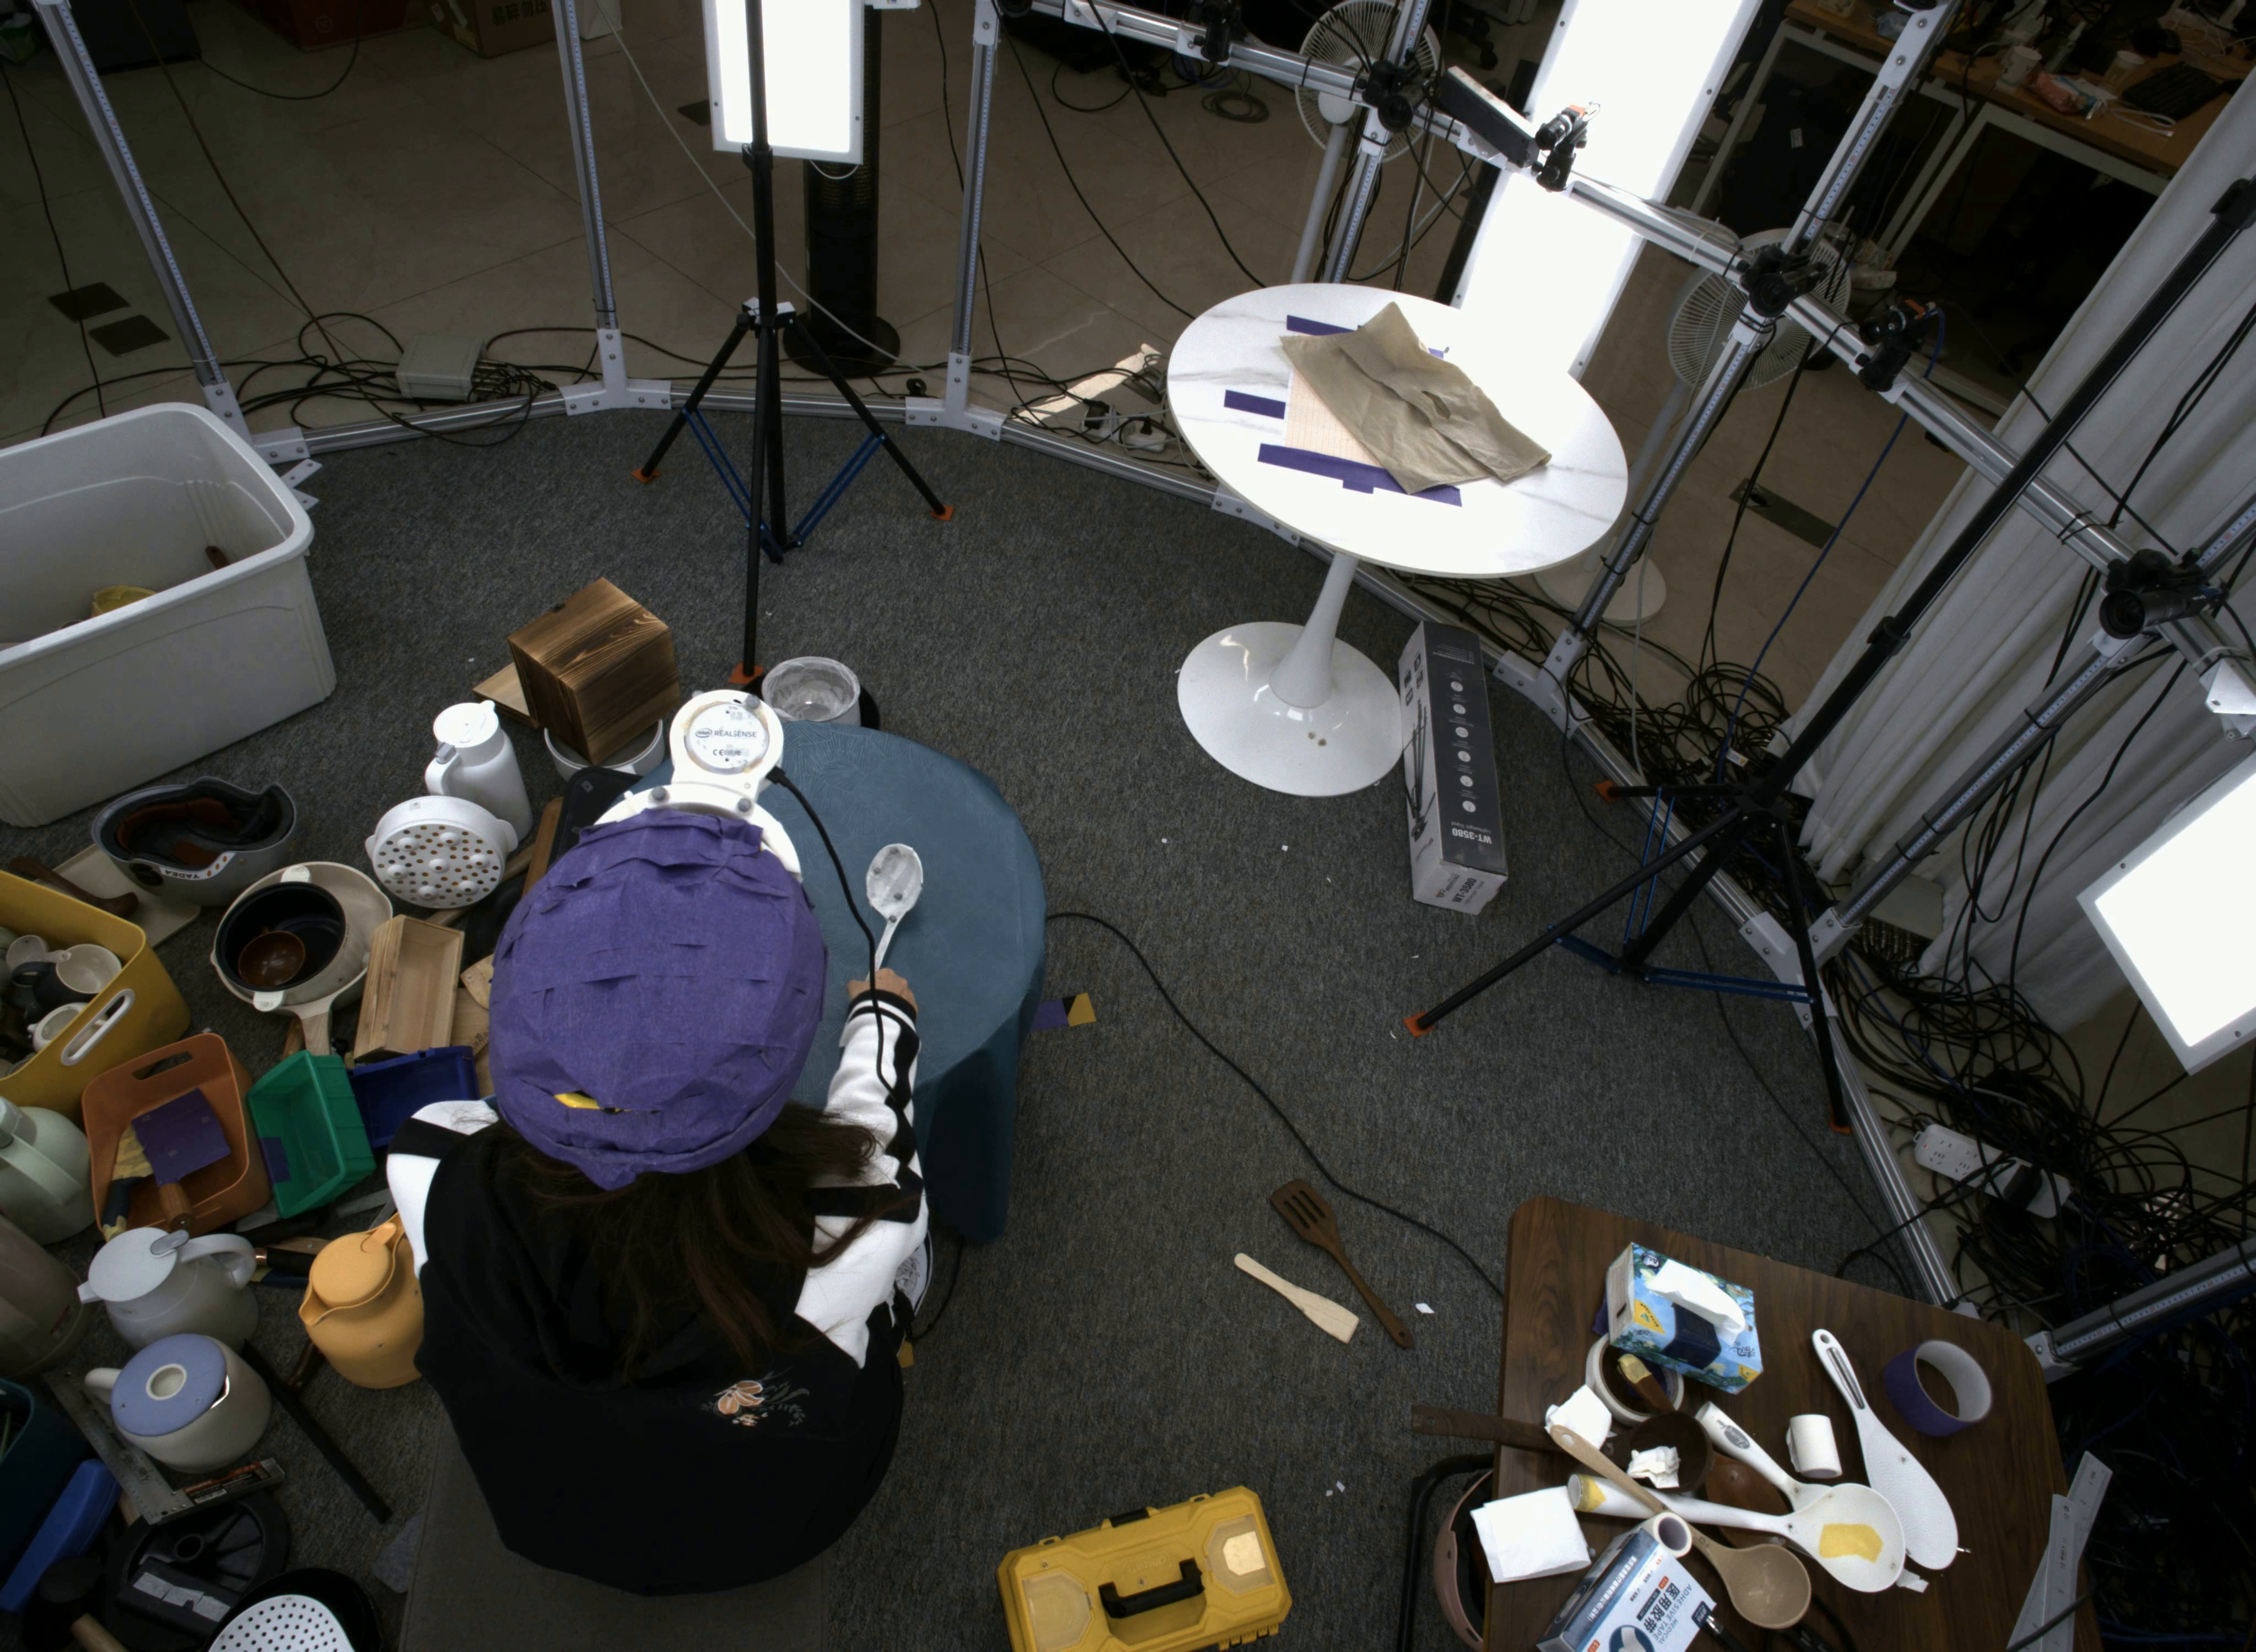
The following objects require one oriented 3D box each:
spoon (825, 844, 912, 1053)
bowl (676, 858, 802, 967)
[{"bbox_3d":[-0.335,0.144,1.595,0.098,0.061,0.274,-12,44,33],"label":"spoon"},{"bbox_3d":[-0.475,0.114,1.586,0.151,0.060,0.149,8,52,-8],"label":"bowl"}]
